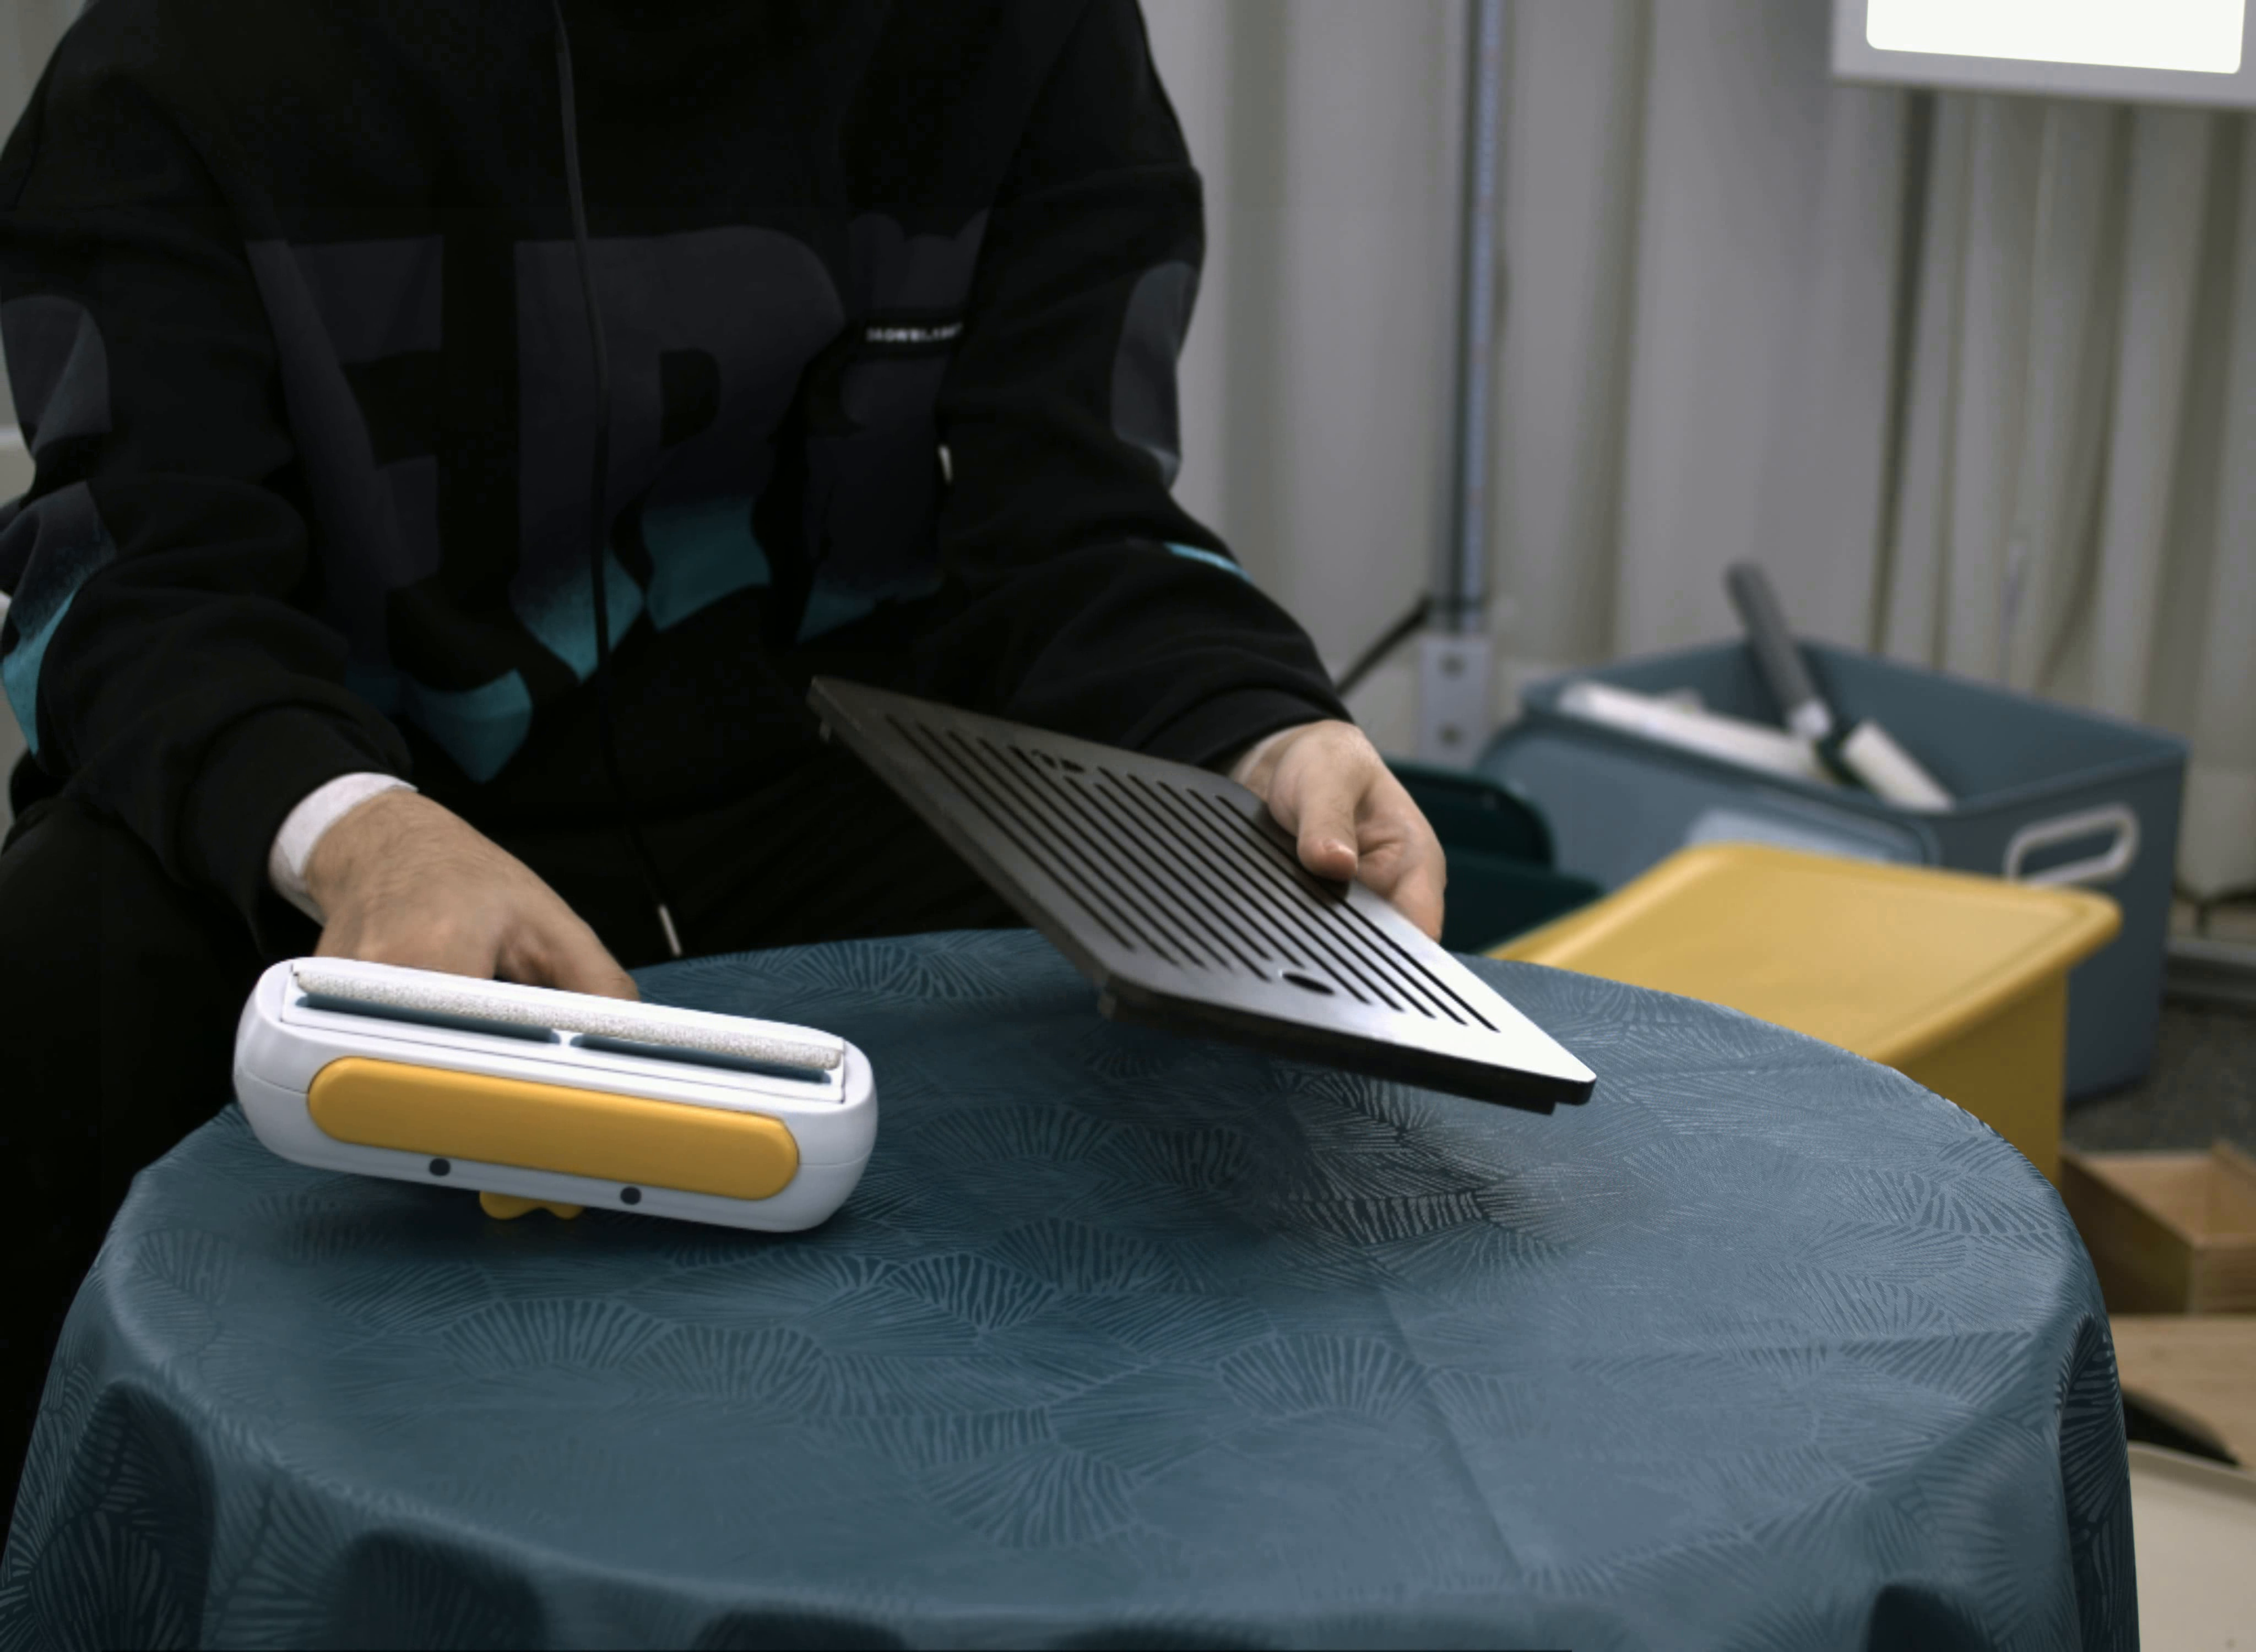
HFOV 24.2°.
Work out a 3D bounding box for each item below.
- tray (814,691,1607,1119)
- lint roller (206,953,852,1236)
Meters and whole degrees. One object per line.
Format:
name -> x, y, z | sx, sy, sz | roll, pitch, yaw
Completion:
tray -> 0.018, 0.024, 1.682 | 0.171, 0.019, 0.302 | 12, 13, -26
lint roller -> -0.180, 0.072, 1.632 | 0.192, 0.075, 0.191 | 5, 14, -3
